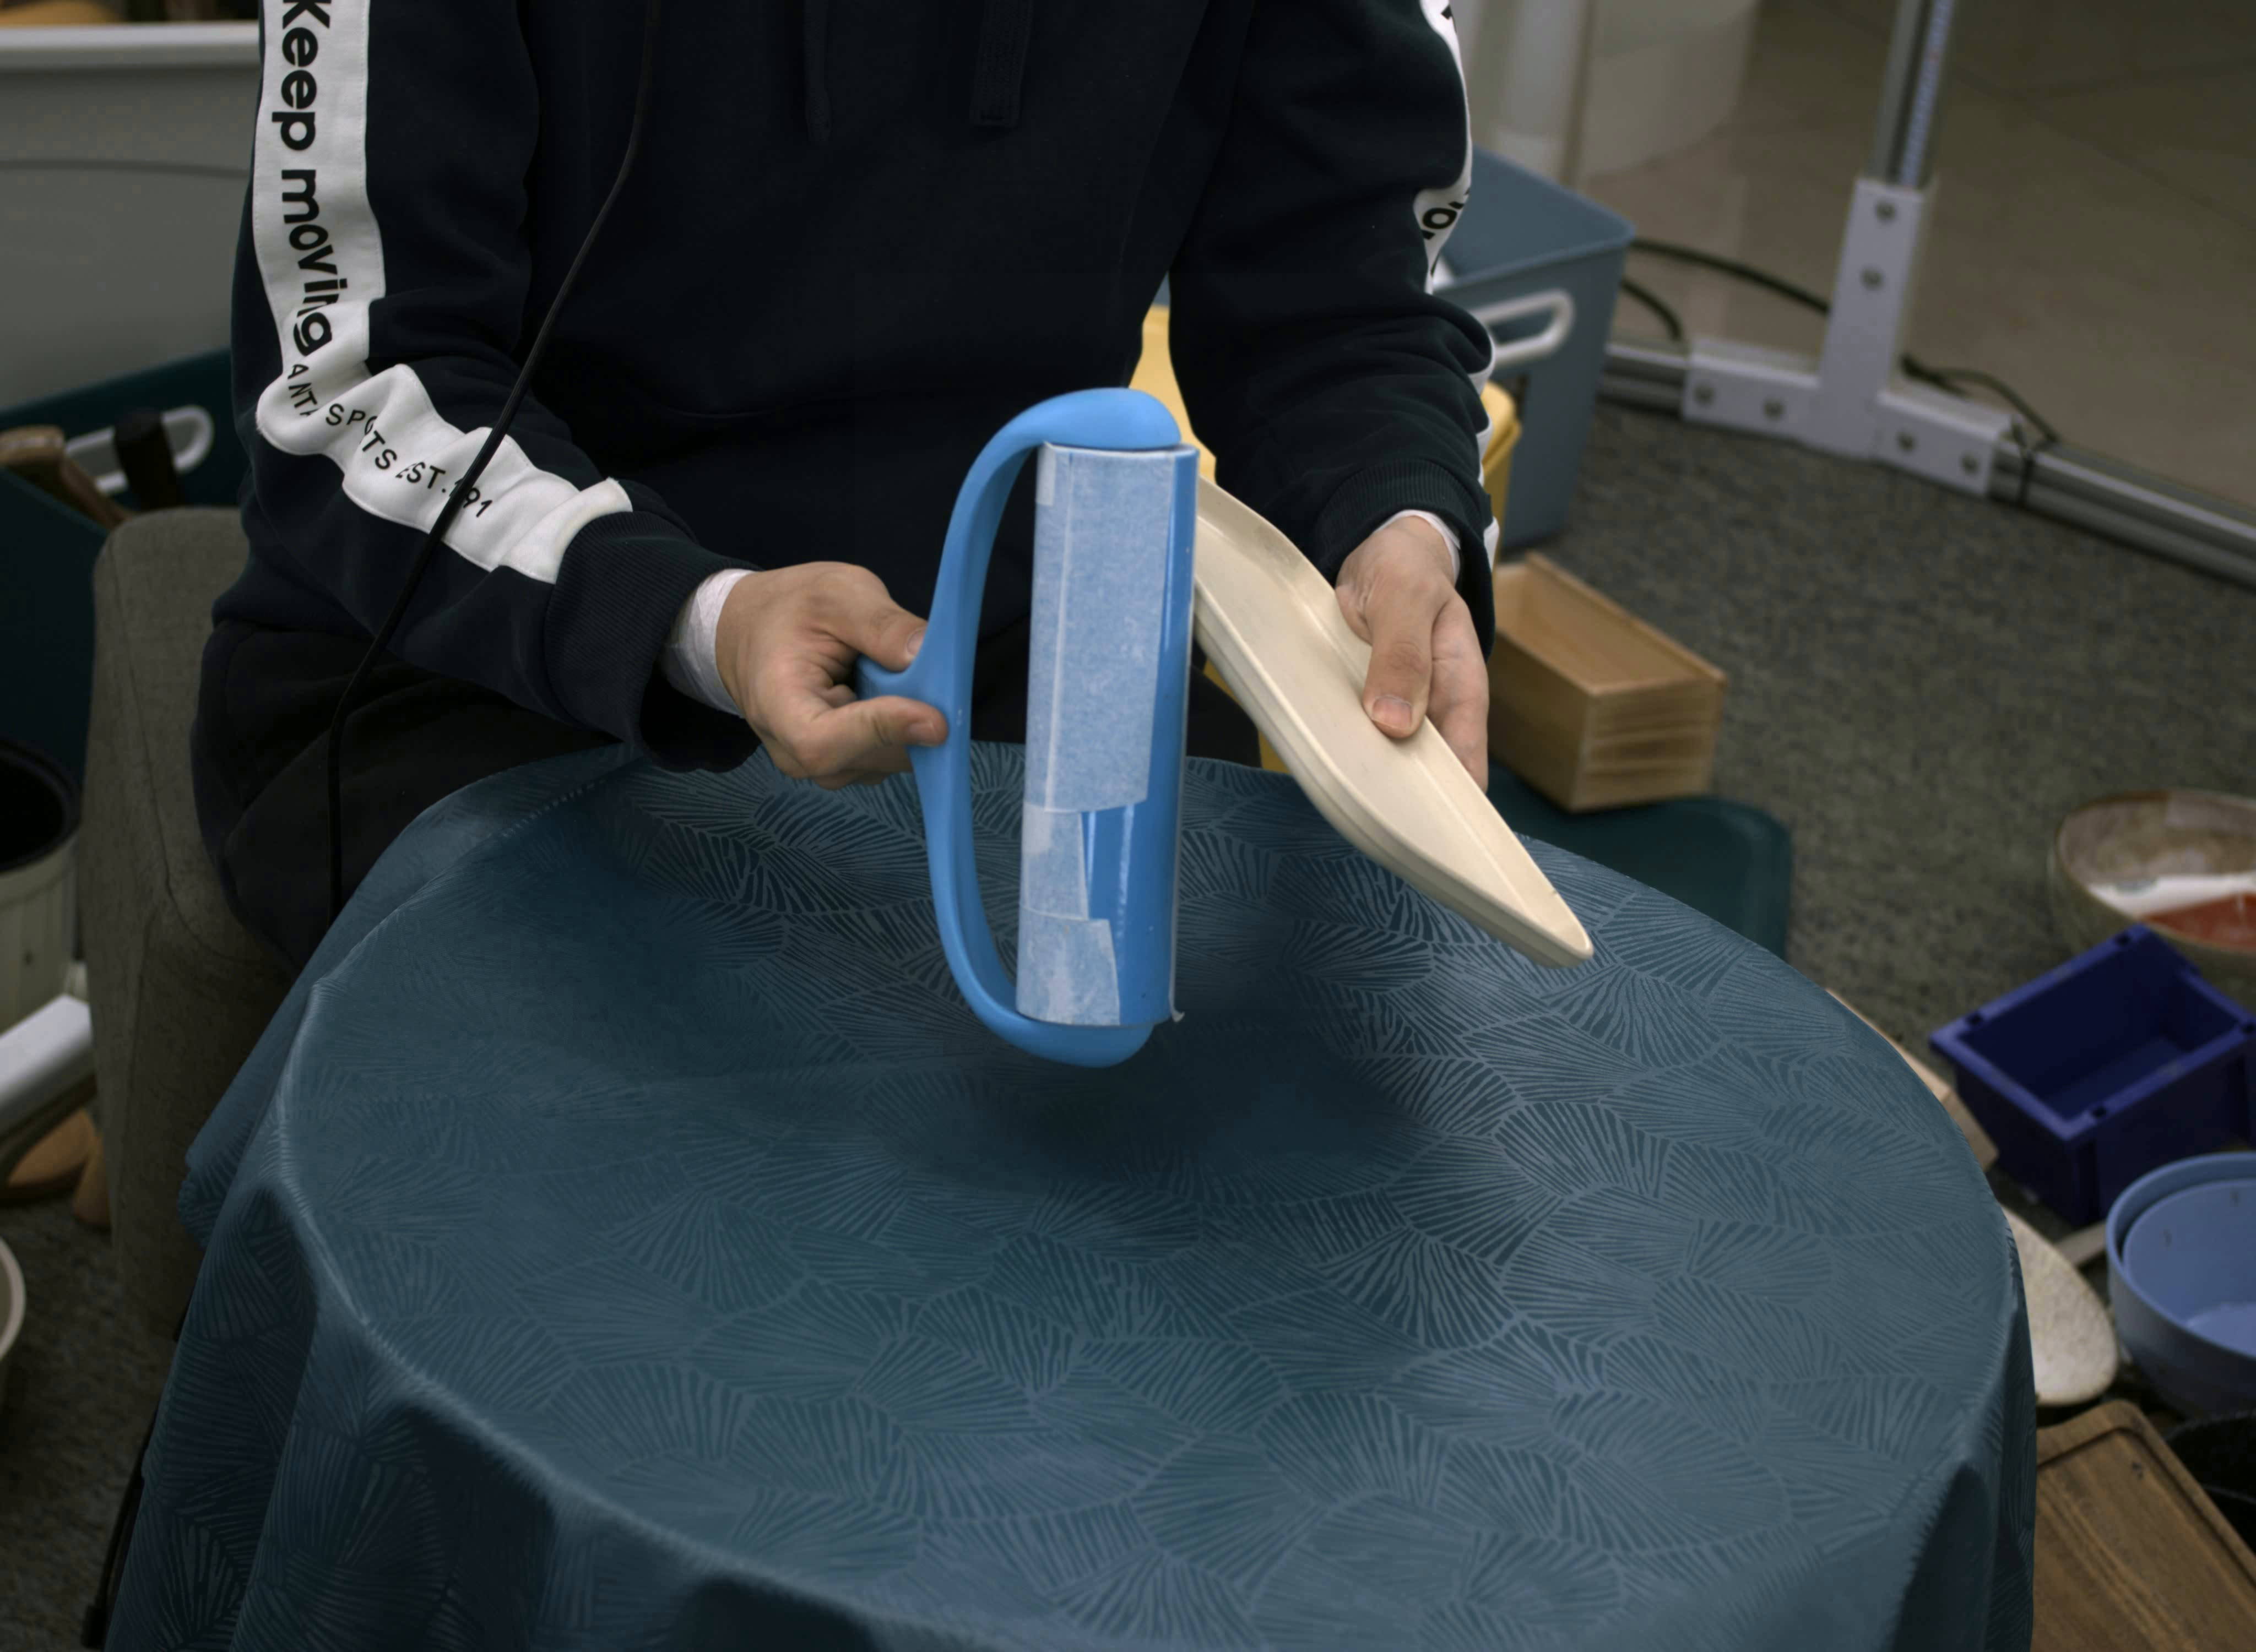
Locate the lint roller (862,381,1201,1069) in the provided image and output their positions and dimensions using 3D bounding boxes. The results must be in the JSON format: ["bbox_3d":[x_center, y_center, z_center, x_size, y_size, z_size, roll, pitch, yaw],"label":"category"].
[{"bbox_3d":[-0.048,-0.038,1.807,0.067,0.229,0.181,-7,10,-42],"label":"lint roller"}]

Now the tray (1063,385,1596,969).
[{"bbox_3d":[0.065,-0.049,1.833,0.169,0.017,0.242,32,19,-49],"label":"tray"}]
